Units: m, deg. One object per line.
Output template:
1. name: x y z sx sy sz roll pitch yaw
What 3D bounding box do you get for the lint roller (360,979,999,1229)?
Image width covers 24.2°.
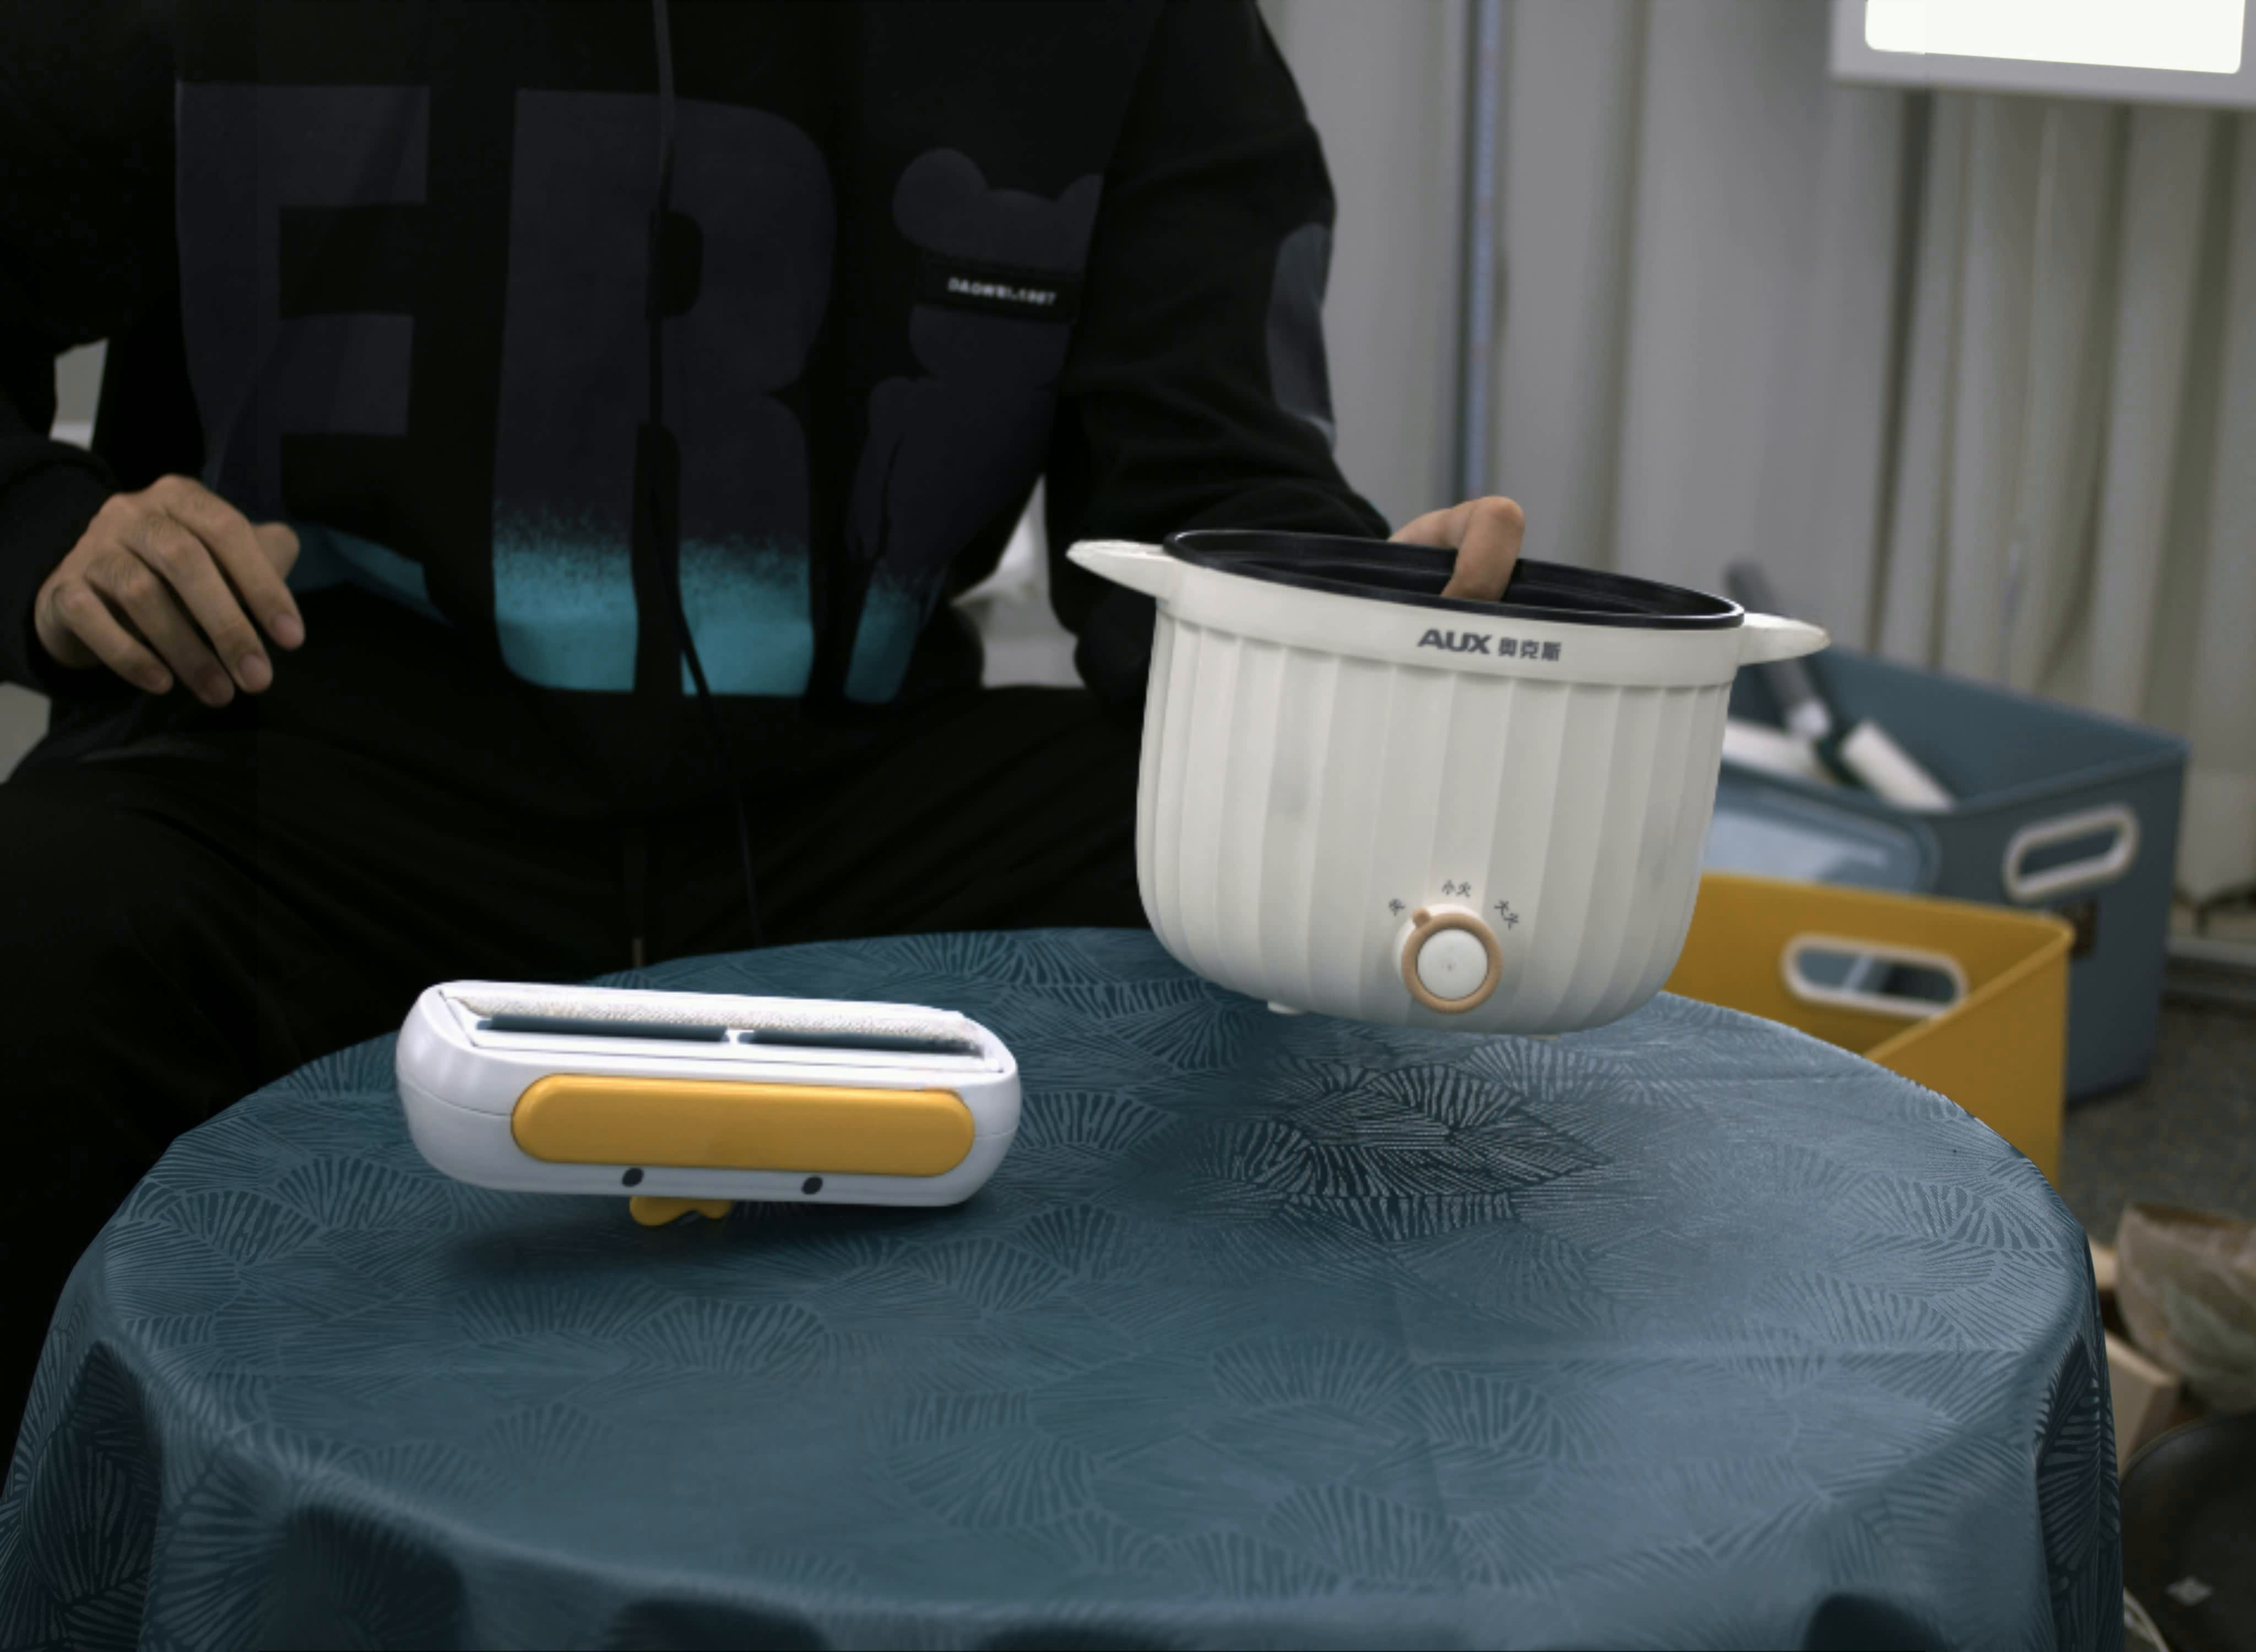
1. lint roller: -0.153 0.074 1.626 0.193 0.074 0.190 1 13 -21

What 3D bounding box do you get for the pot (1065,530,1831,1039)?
1. pot: 0.094 -0.012 1.624 0.240 0.143 0.190 5 5 -6
